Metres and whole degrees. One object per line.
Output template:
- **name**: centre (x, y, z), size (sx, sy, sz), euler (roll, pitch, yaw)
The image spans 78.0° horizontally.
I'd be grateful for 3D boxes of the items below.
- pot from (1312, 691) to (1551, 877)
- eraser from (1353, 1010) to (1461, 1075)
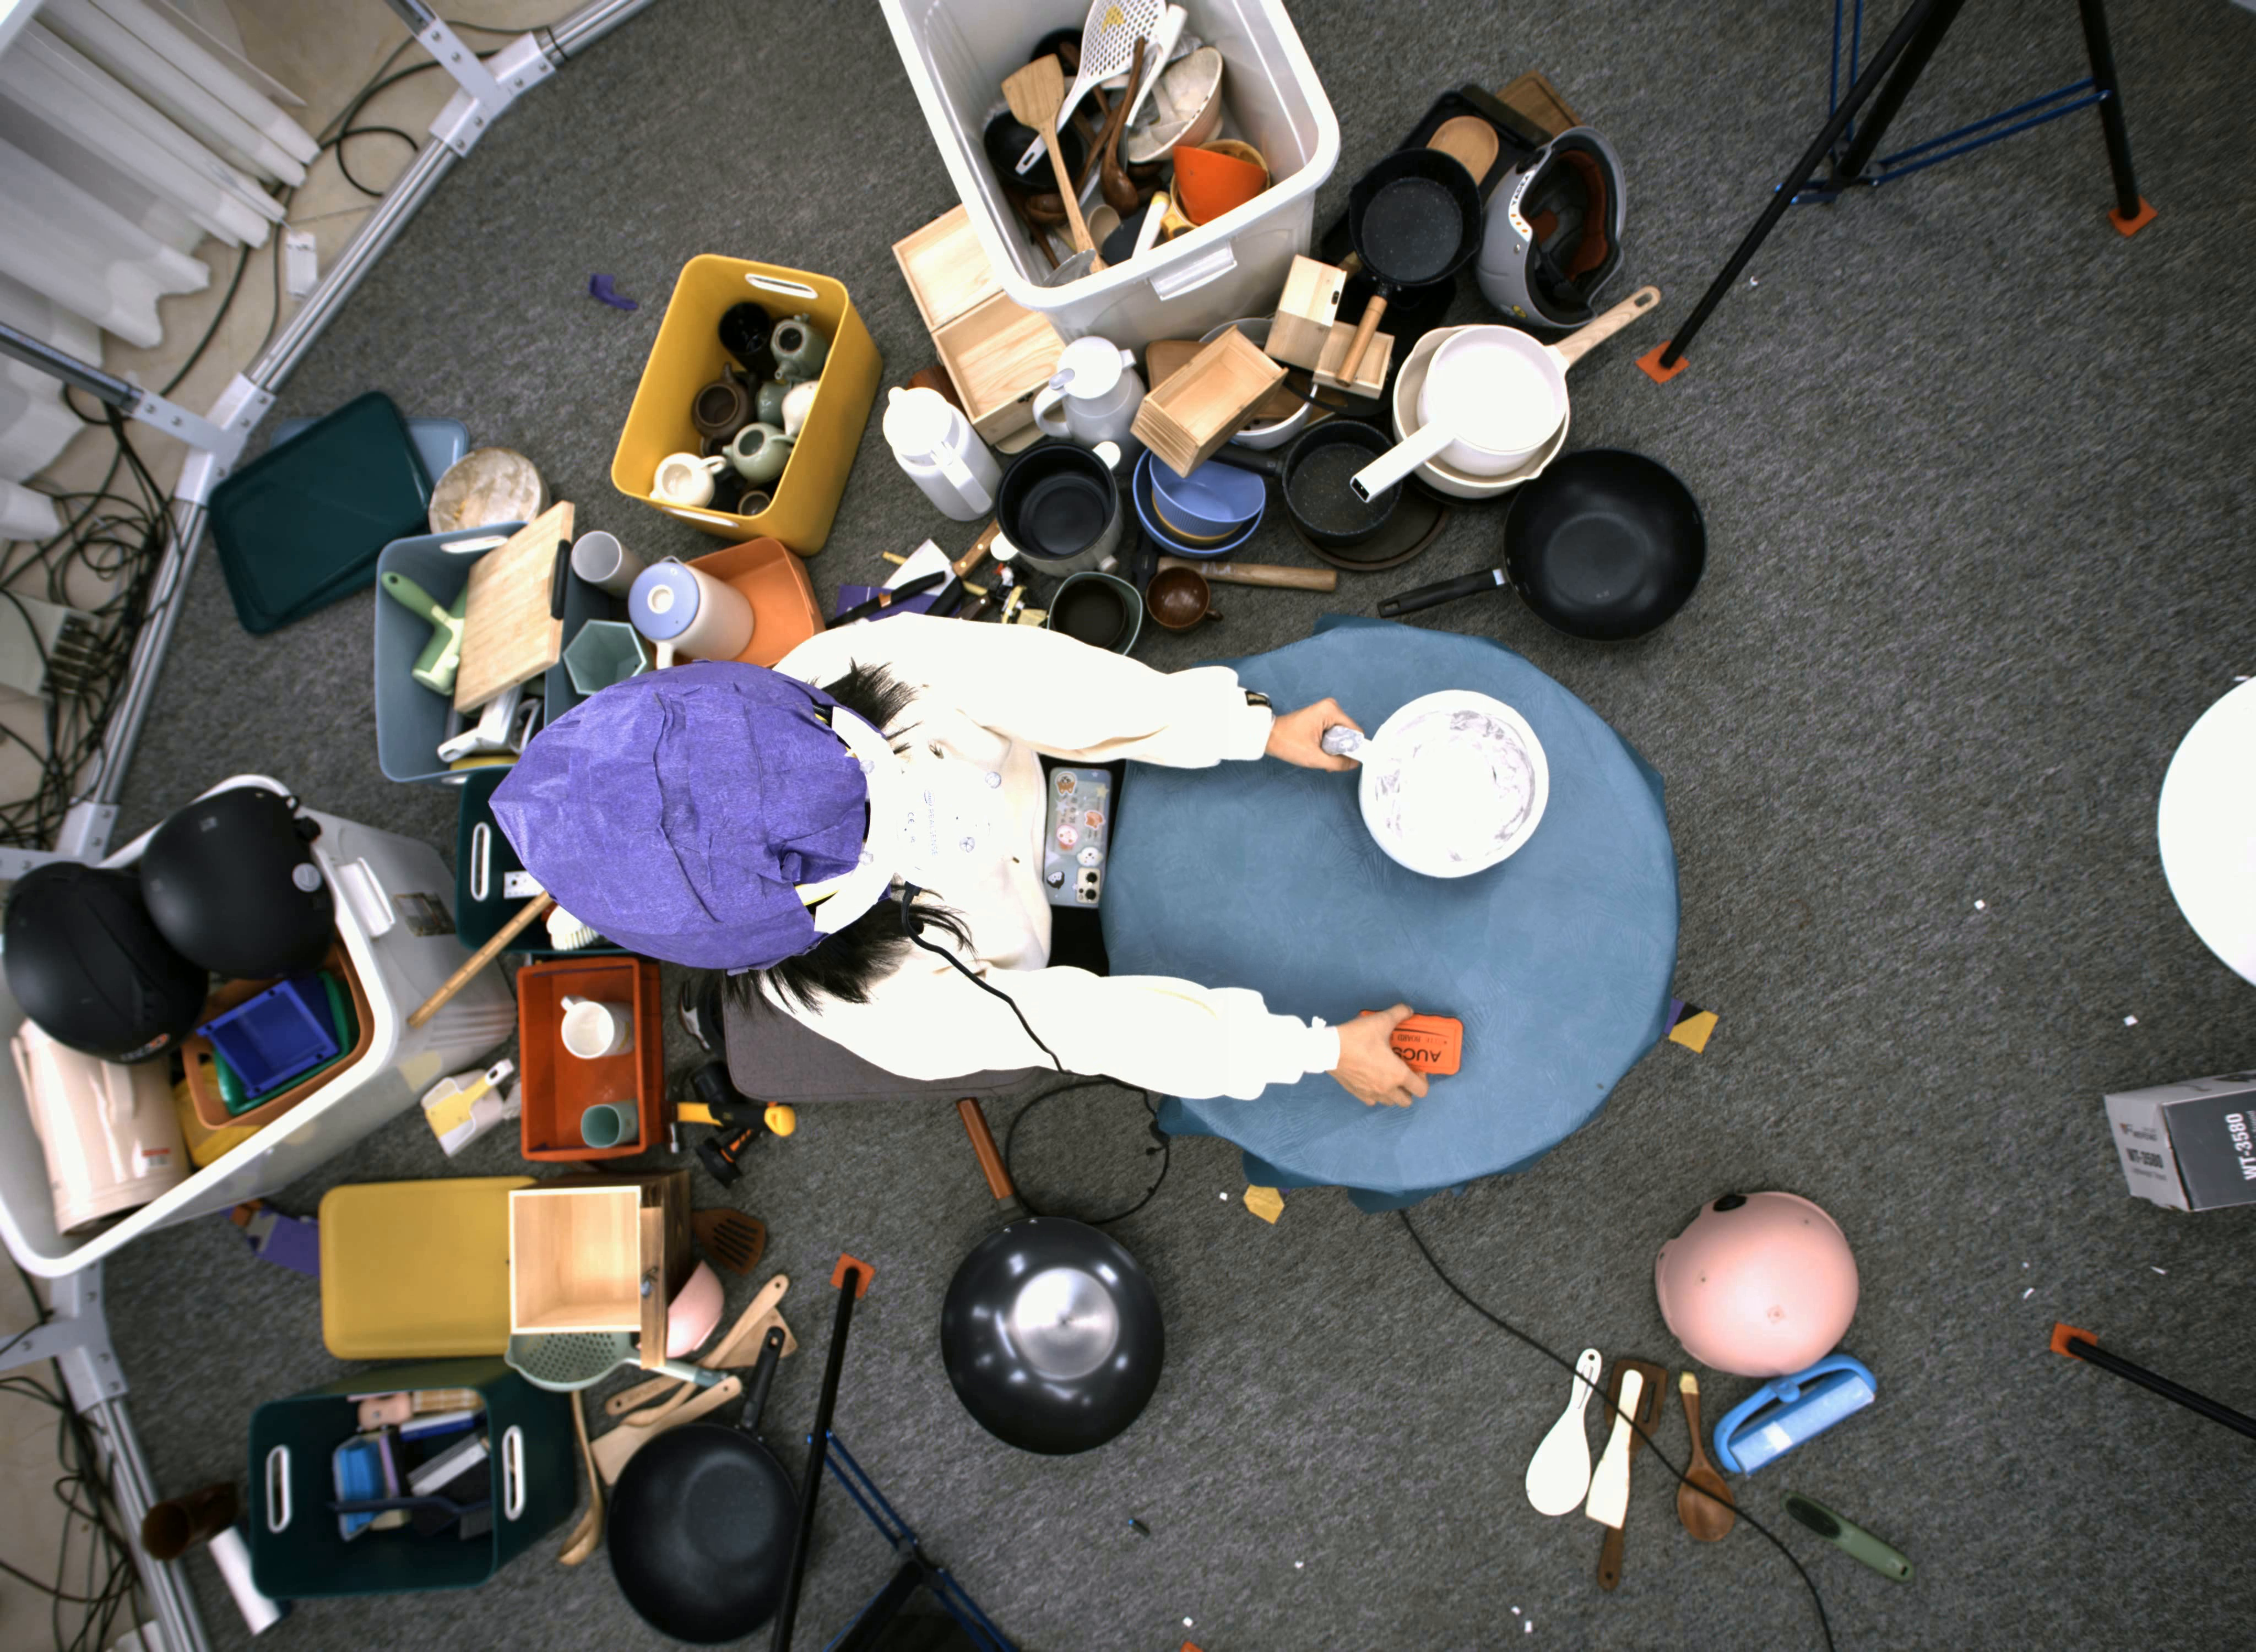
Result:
- **pot**: centre (0.298, -0.049, 1.388), size (0.234, 0.136, 0.178), euler (21, 90, 8)
- **eraser**: centre (0.288, 0.221, 1.426), size (0.108, 0.022, 0.059), euler (3, 103, 14)
